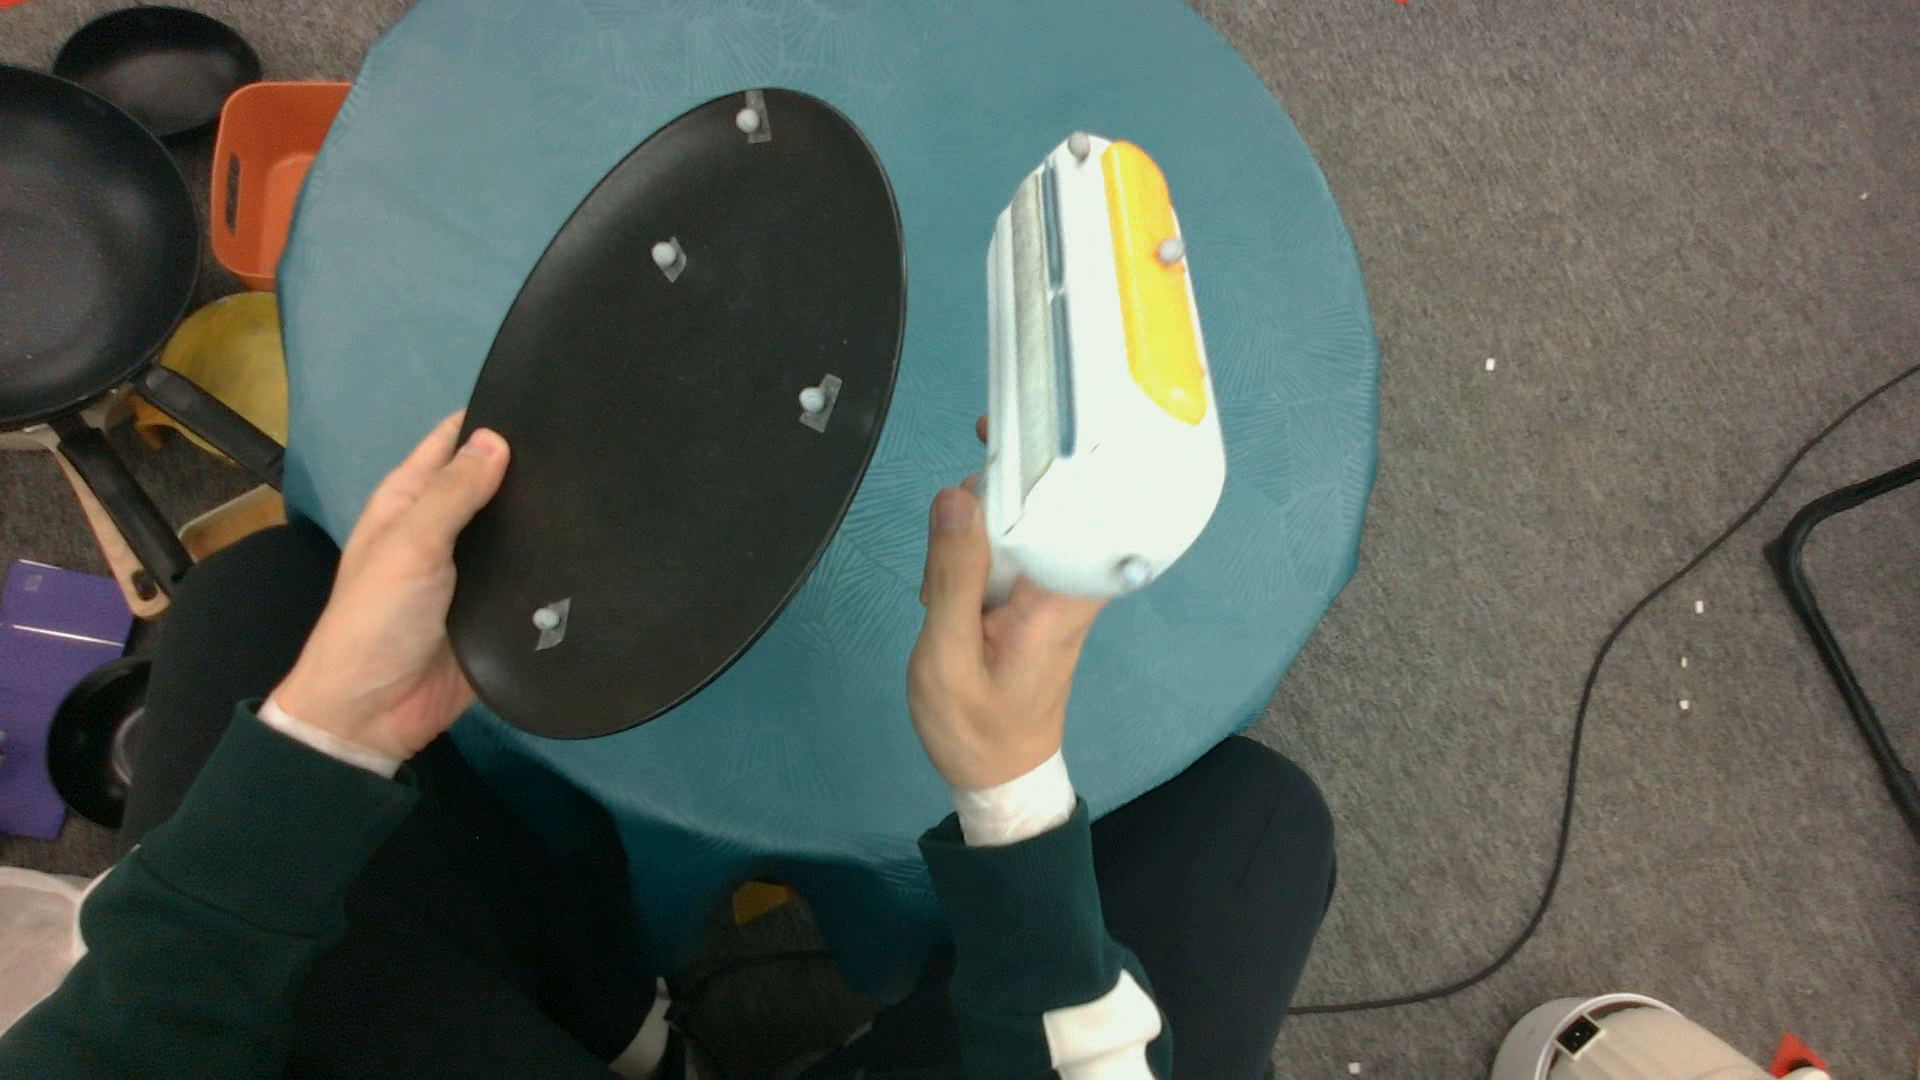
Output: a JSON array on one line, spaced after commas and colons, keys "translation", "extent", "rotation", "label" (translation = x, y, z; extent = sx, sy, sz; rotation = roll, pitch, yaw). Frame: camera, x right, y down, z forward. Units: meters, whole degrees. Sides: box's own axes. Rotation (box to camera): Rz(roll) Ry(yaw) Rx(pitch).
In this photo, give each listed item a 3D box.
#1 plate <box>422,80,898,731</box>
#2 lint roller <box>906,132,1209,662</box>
[{"translation": [-0.112, -0.050, 0.493], "extent": [0.023, 0.243, 0.245], "rotation": [26, 61, -48], "label": "plate"}, {"translation": [0.014, -0.022, 0.483], "extent": [0.074, 0.191, 0.193], "rotation": [17, 46, -22], "label": "lint roller"}]
